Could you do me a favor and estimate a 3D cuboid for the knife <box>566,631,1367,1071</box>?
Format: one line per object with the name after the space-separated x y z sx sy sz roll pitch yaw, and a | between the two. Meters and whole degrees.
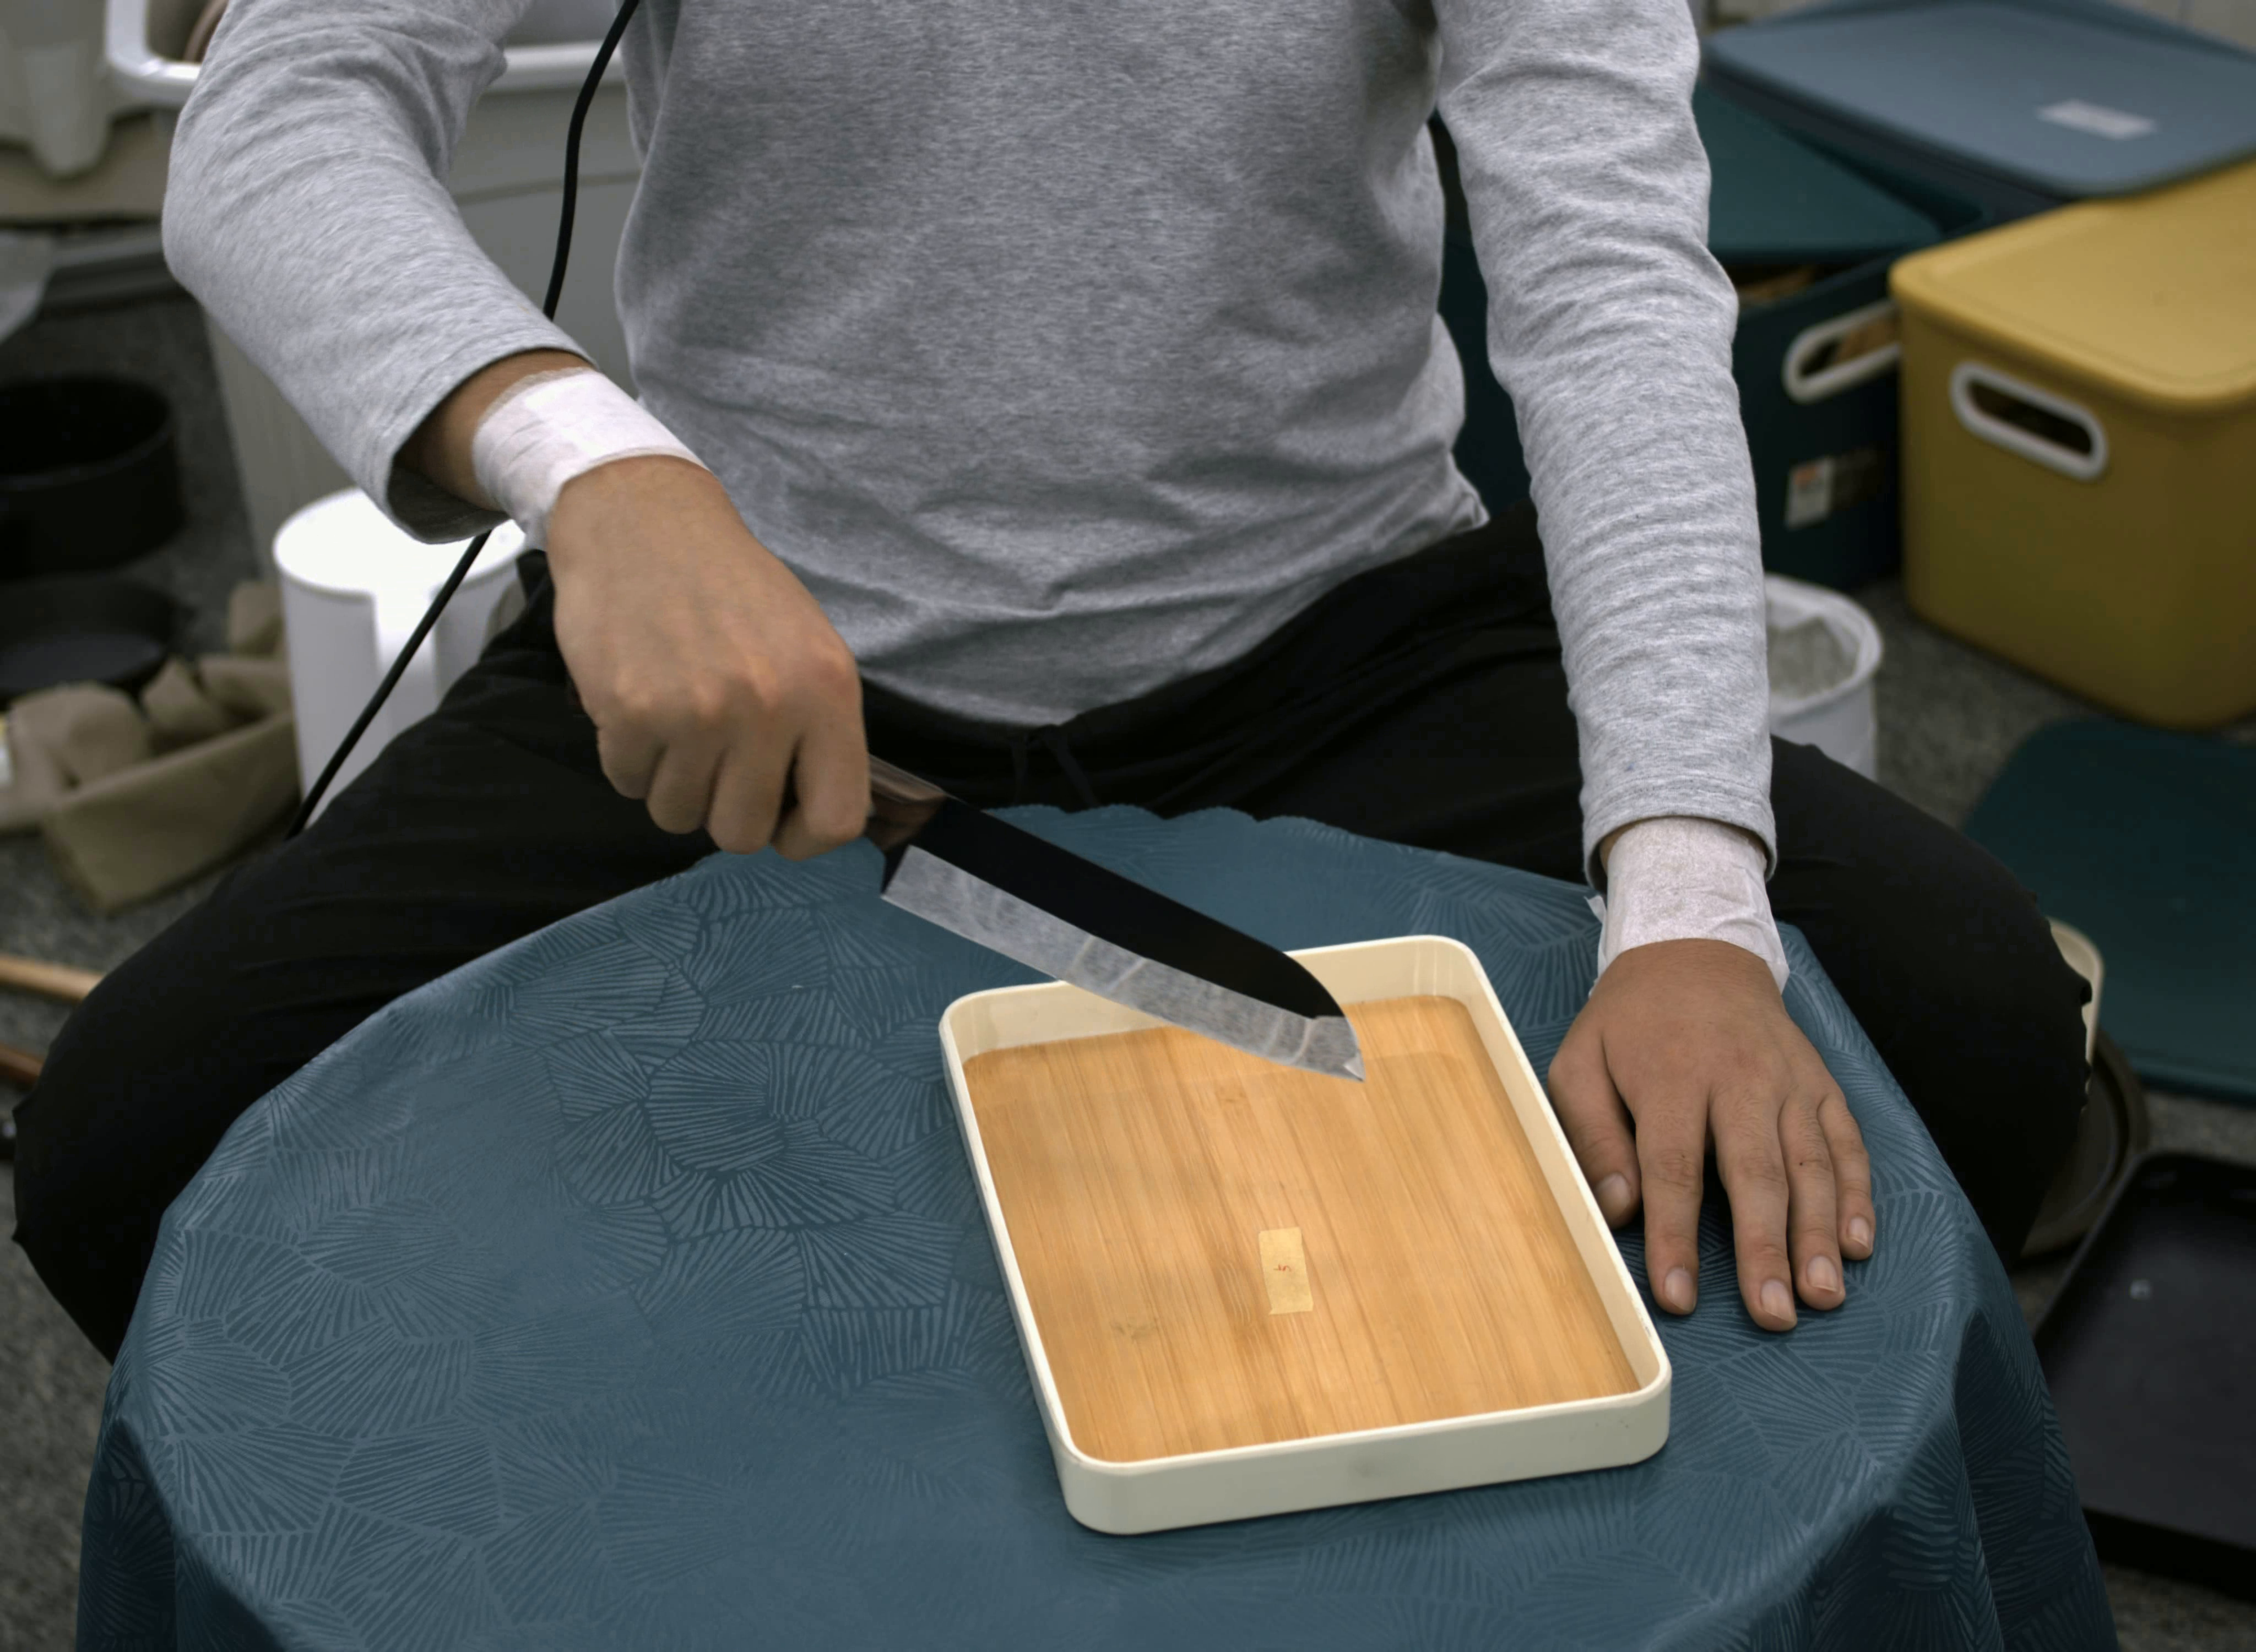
-0.051 0.010 1.790 0.288 0.049 0.020 27 27 -5 | knife

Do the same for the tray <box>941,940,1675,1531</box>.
0.051 0.126 1.819 0.191 0.027 0.304 -6 27 -8 | tray
